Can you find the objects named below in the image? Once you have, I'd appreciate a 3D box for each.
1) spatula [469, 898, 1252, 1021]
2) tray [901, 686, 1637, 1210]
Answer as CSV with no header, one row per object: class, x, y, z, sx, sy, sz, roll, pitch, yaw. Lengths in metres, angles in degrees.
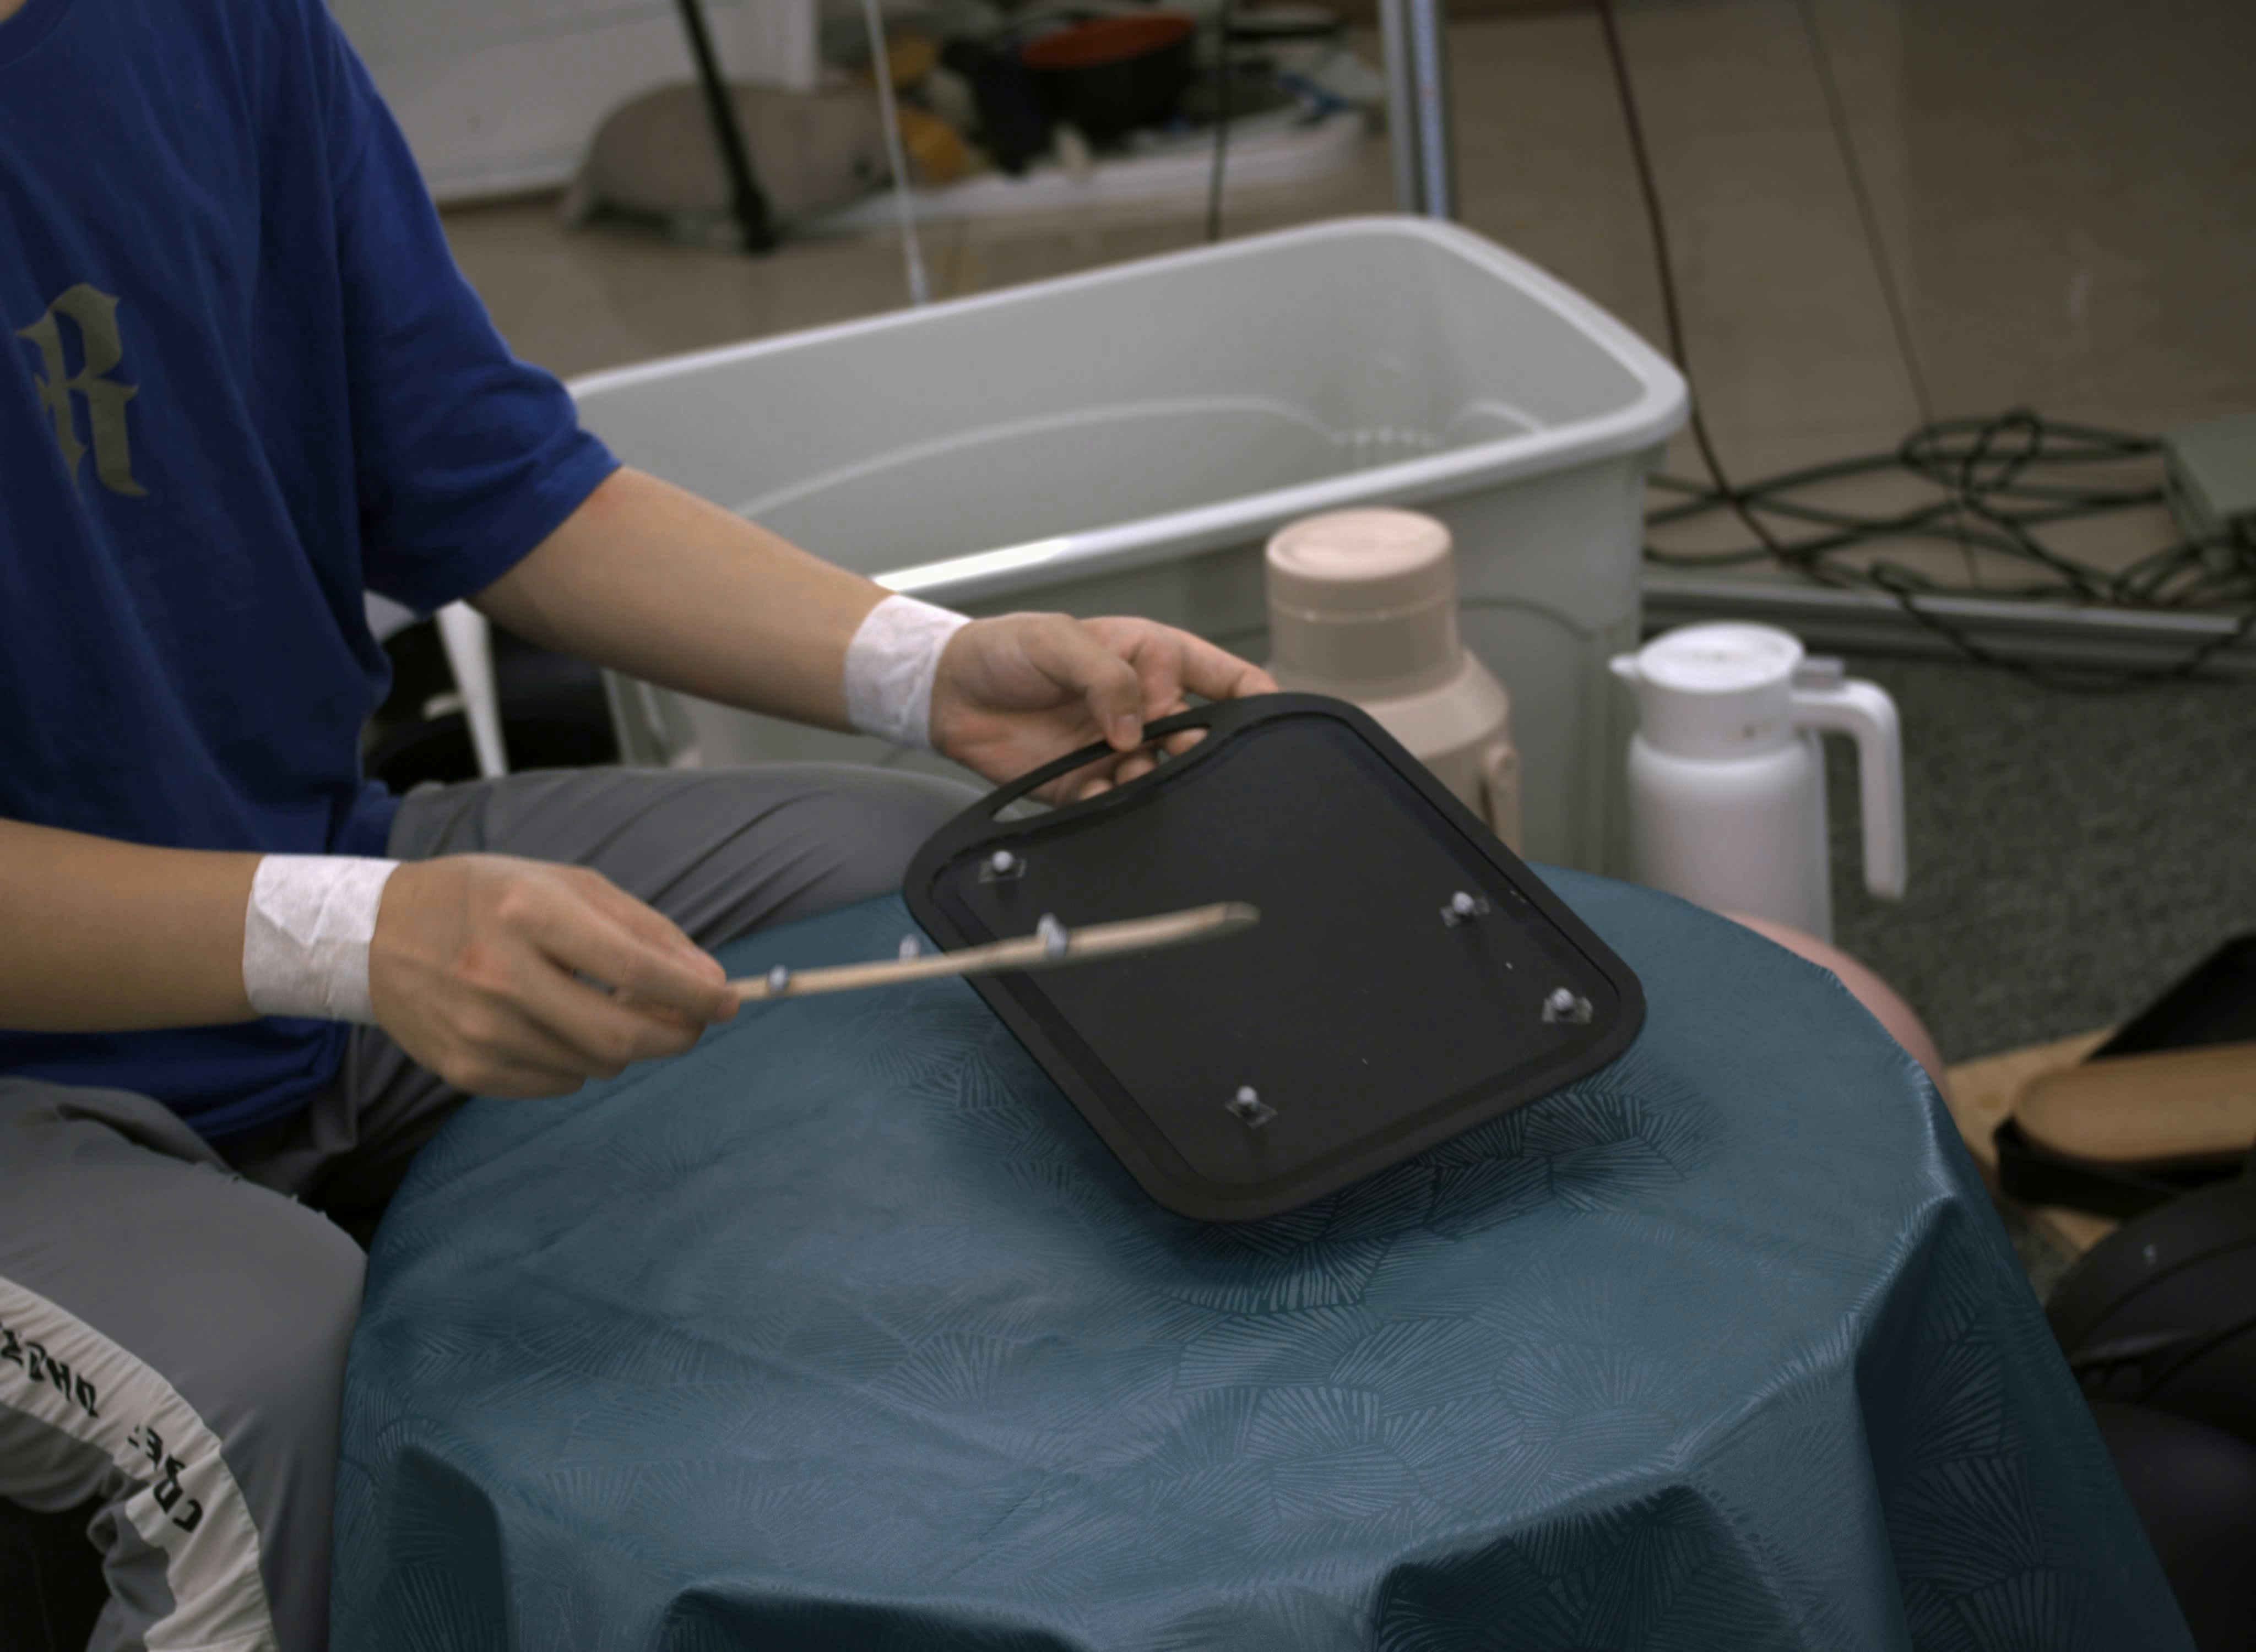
spatula,-0.101,0.050,2.071,0.293,0.010,0.072,-8,-5,11
tray,0.045,0.037,2.209,0.210,0.010,0.320,-24,37,-14
